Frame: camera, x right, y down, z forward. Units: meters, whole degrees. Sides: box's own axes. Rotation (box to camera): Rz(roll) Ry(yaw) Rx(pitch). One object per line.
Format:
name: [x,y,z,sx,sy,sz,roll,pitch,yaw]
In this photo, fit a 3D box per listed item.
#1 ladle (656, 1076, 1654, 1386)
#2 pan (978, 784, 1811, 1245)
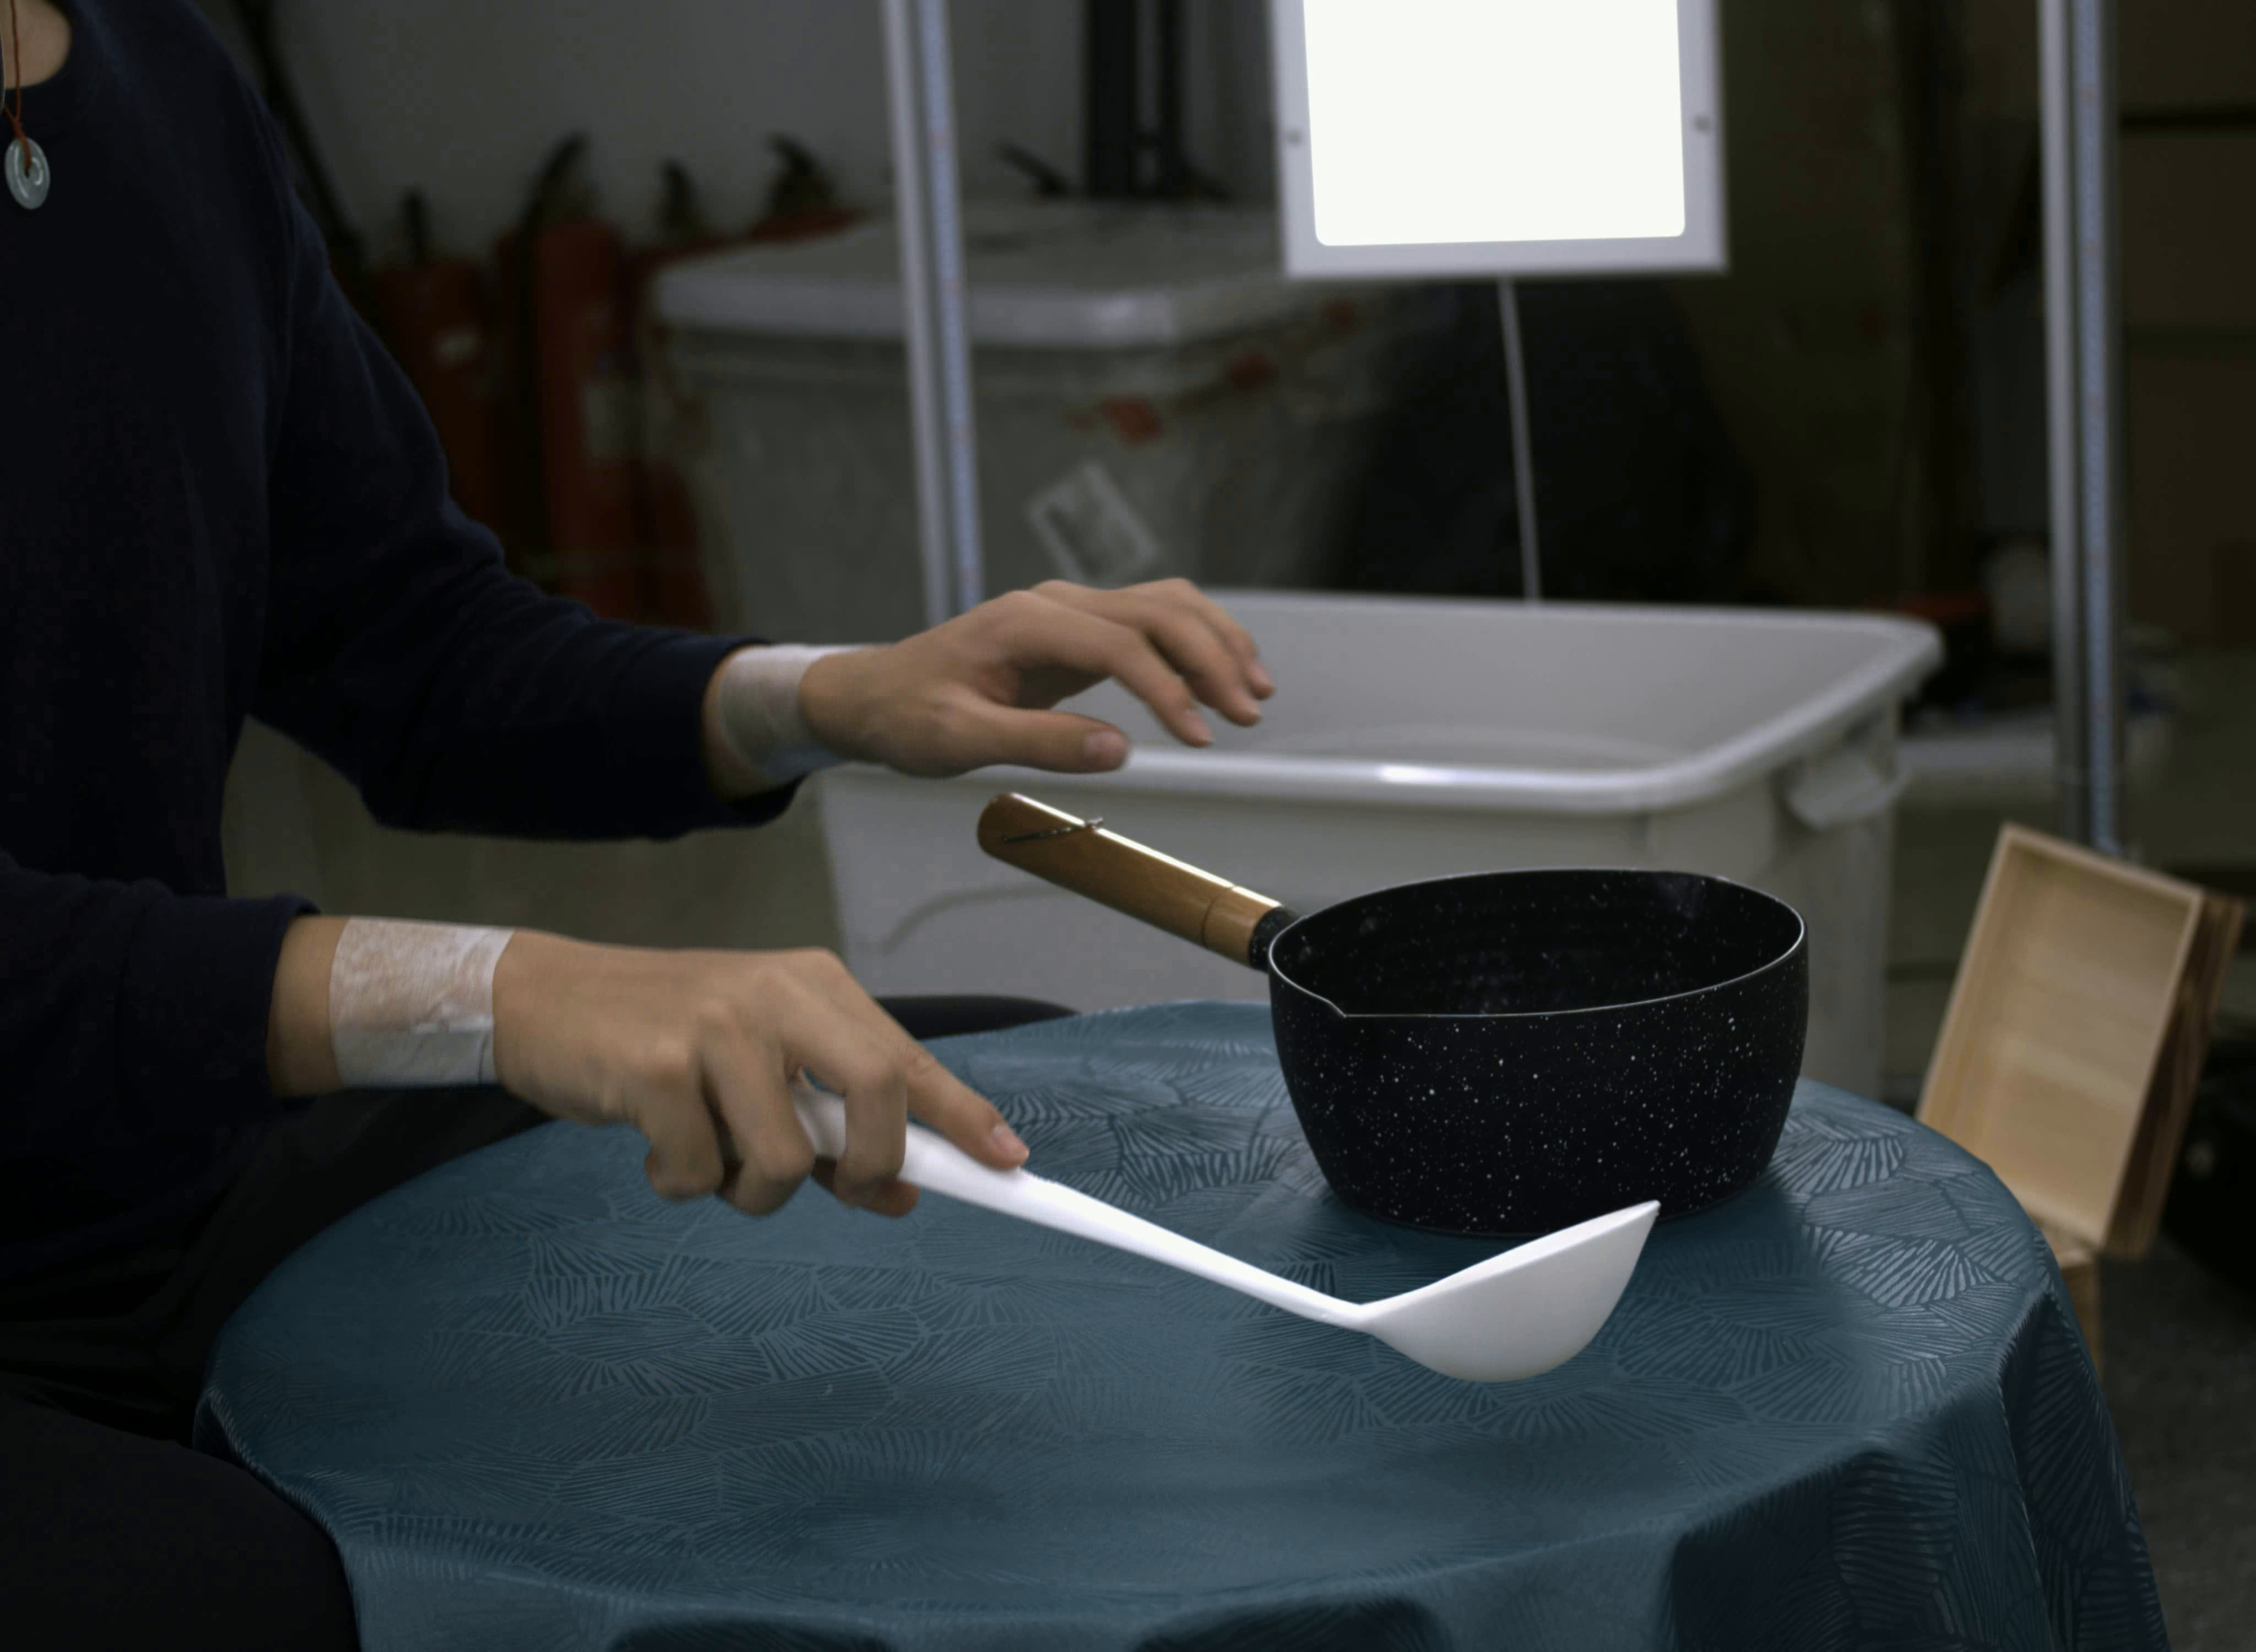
ladle: [0.005,0.105,1.614,0.295,0.070,0.089,14,14,13]
pan: [0.080,0.058,1.919,0.350,0.108,0.202,9,20,40]
